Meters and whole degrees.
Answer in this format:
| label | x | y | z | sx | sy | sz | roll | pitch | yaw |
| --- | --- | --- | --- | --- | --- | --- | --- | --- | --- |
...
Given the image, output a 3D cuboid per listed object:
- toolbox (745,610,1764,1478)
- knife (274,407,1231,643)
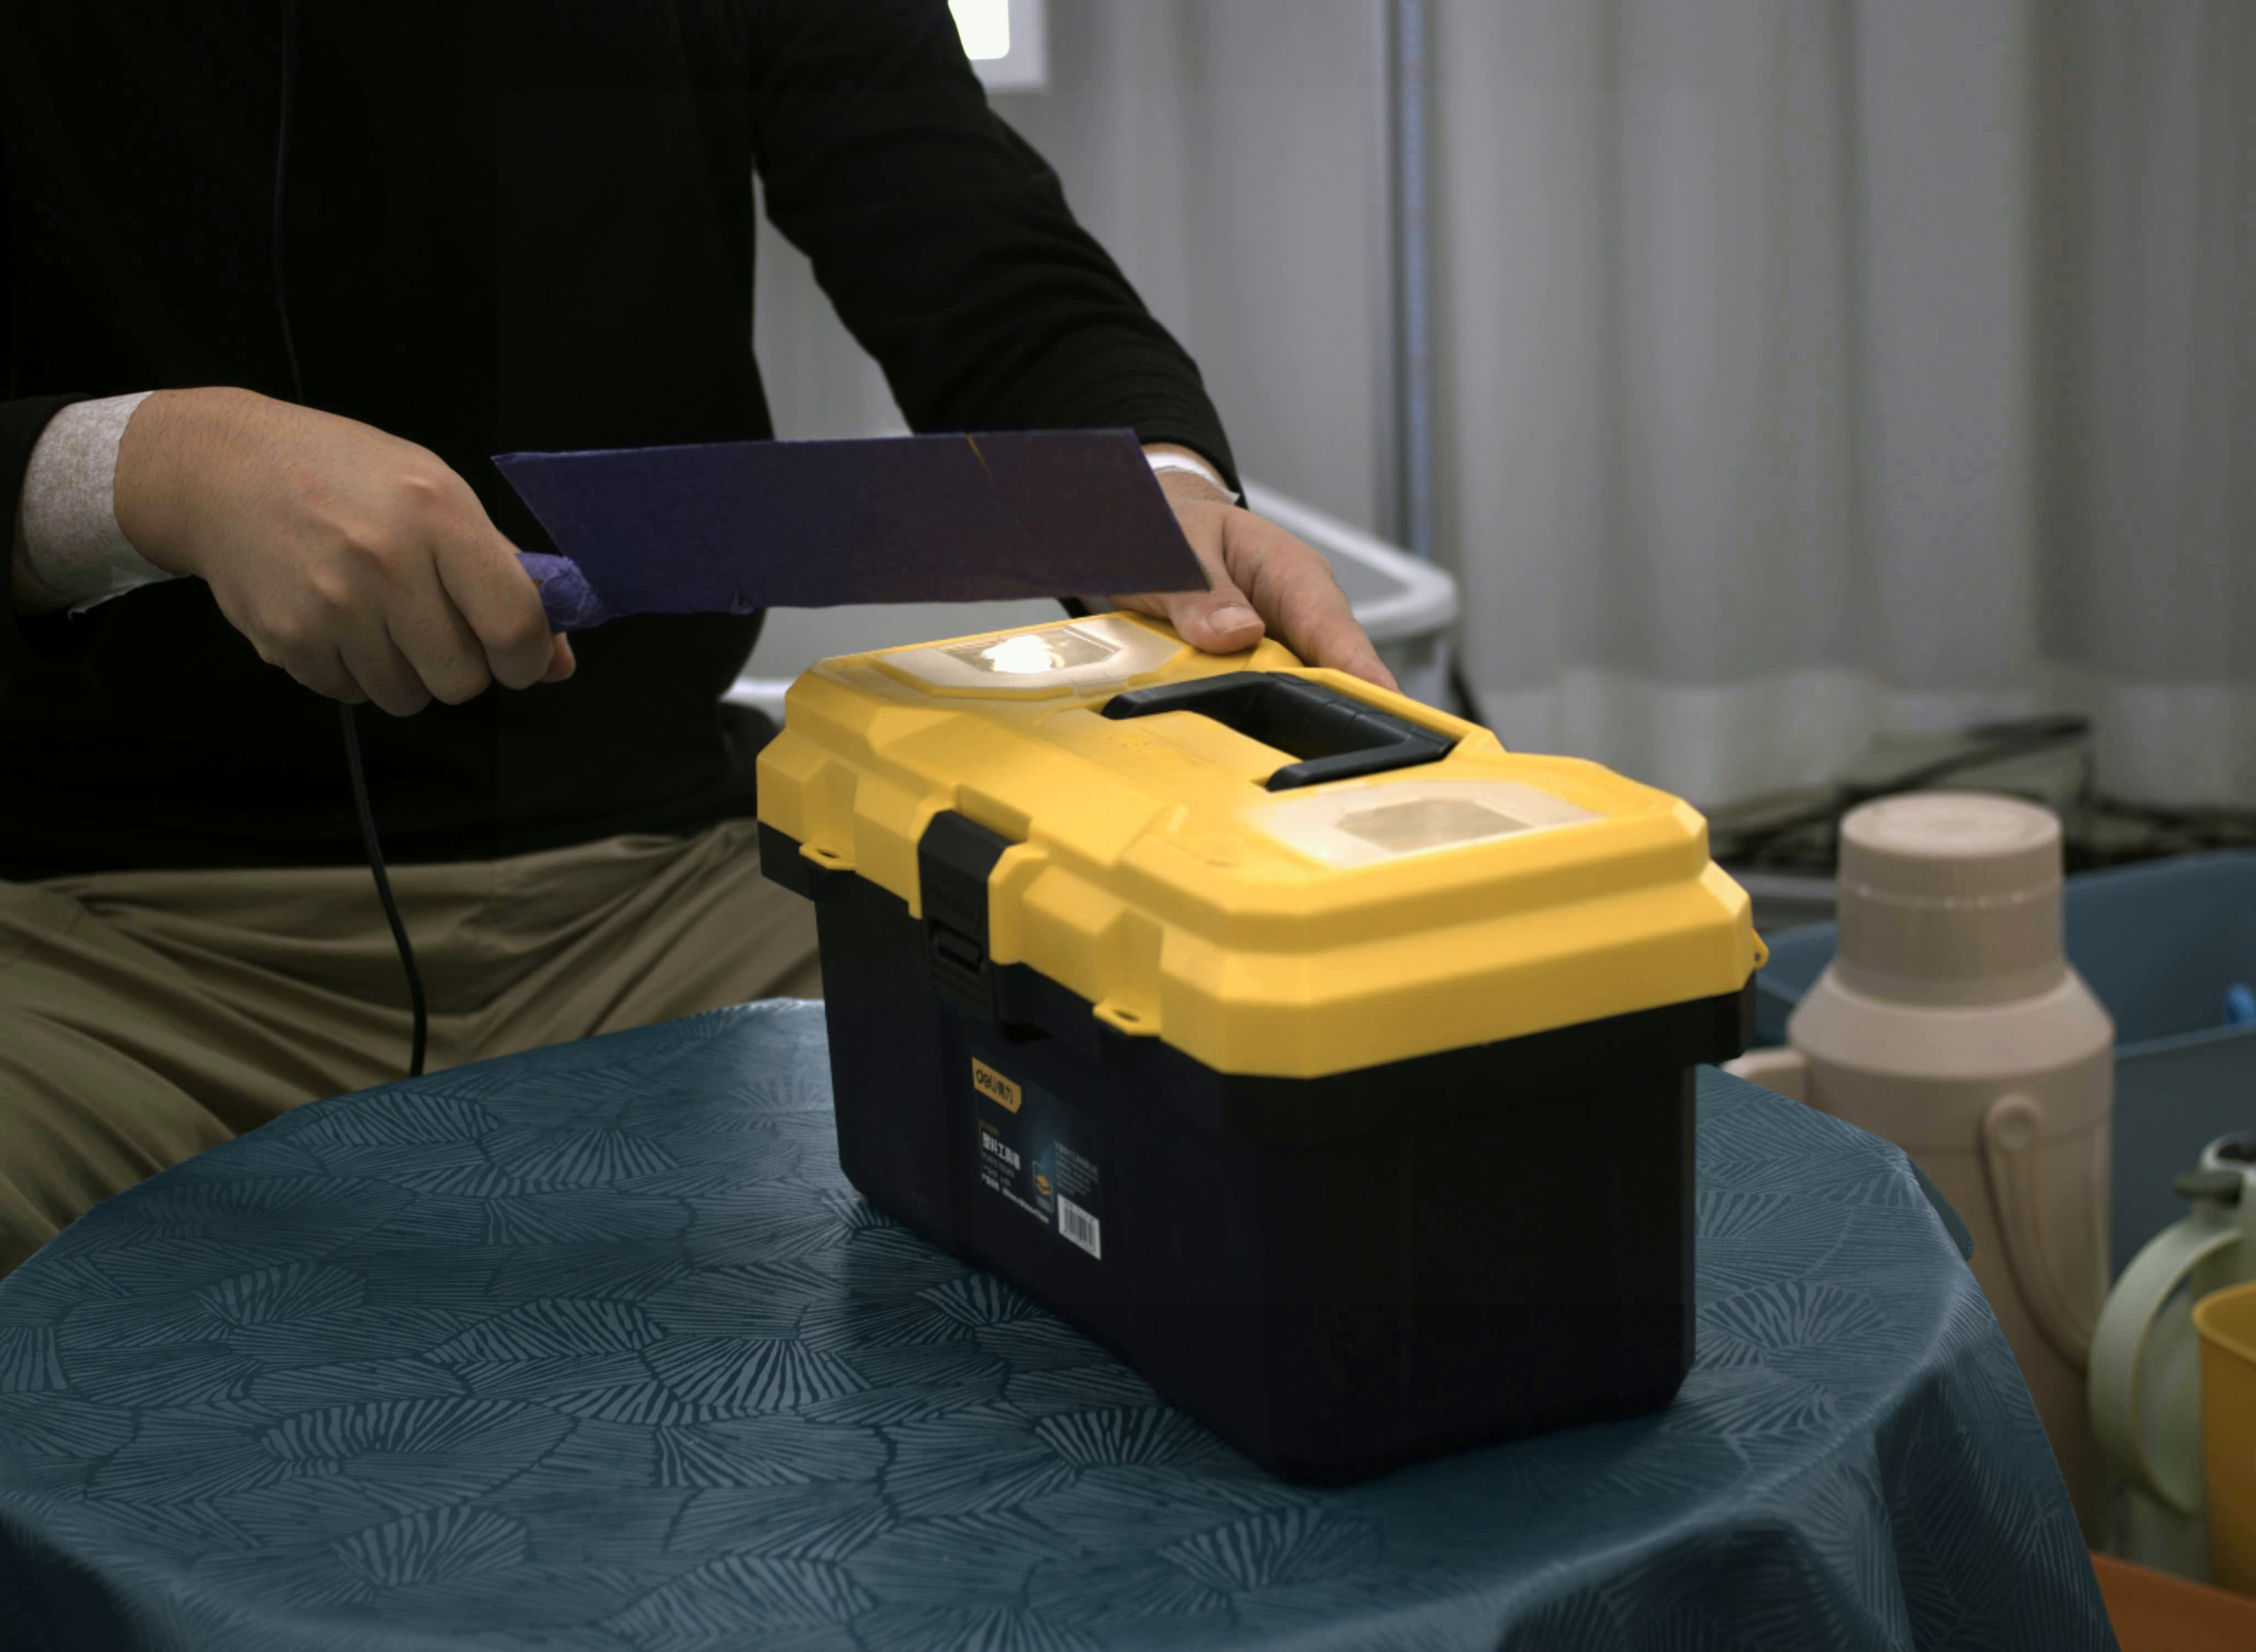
| label | x | y | z | sx | sy | sz | roll | pitch | yaw |
| --- | --- | --- | --- | --- | --- | --- | --- | --- | --- |
| toolbox | 0.029 | 0.055 | 1.600 | 0.180 | 0.172 | 0.354 | -9 | 15 | -25 |
| knife | -0.128 | -0.093 | 1.680 | 0.315 | 0.032 | 0.102 | -2 | -32 | 19 |
